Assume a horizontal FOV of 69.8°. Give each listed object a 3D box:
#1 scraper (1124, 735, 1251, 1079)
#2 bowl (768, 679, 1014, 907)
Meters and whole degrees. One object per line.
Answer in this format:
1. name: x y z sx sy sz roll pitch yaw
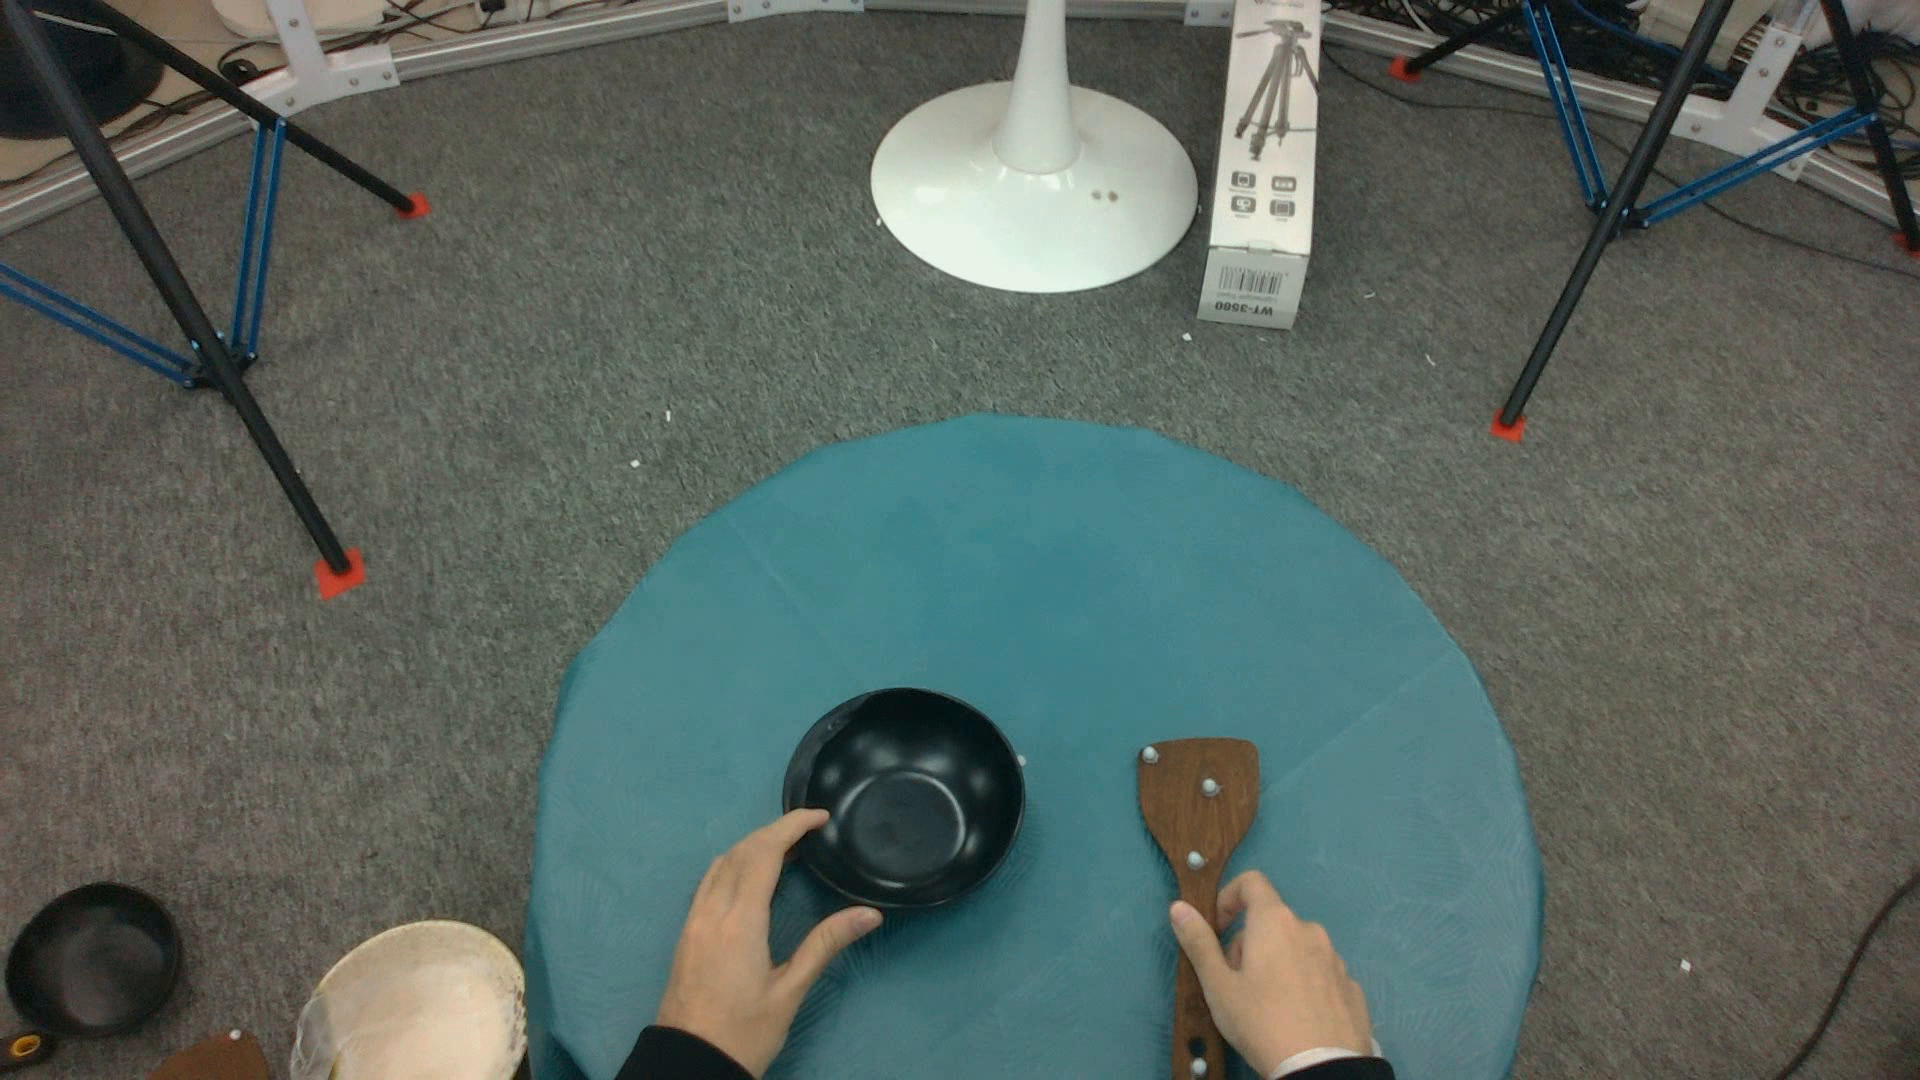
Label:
1. scraper: 0.127 0.200 0.778 0.076 0.011 0.212 -2 47 13
2. bowl: -0.041 0.152 0.796 0.140 0.049 0.140 3 52 -4
